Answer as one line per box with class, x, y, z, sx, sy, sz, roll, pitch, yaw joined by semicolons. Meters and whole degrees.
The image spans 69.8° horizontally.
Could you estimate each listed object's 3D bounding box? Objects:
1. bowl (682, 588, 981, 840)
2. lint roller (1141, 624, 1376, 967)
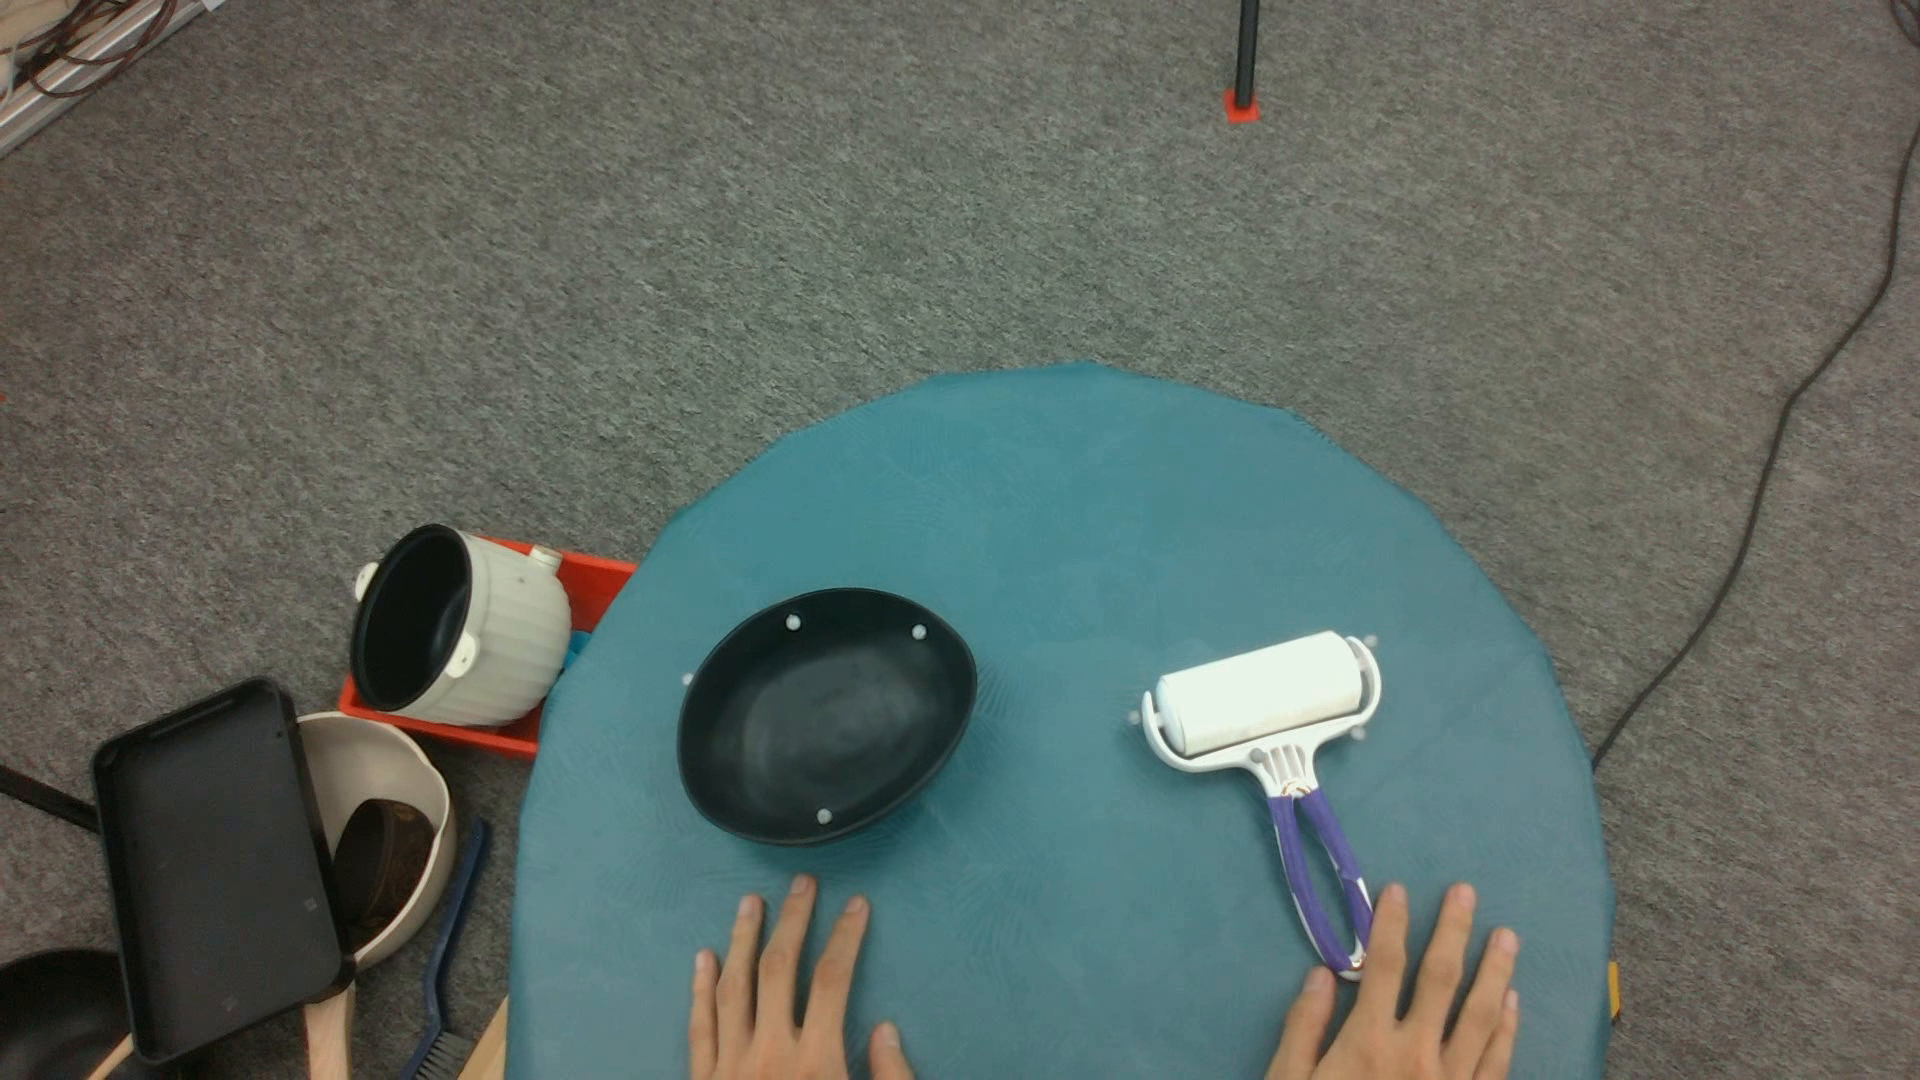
bowl;-0.070;0.101;0.777;0.170;0.066;0.137;-28;67;-11
lint roller;0.182;0.139;0.749;0.133;0.050;0.181;-13;61;-3
